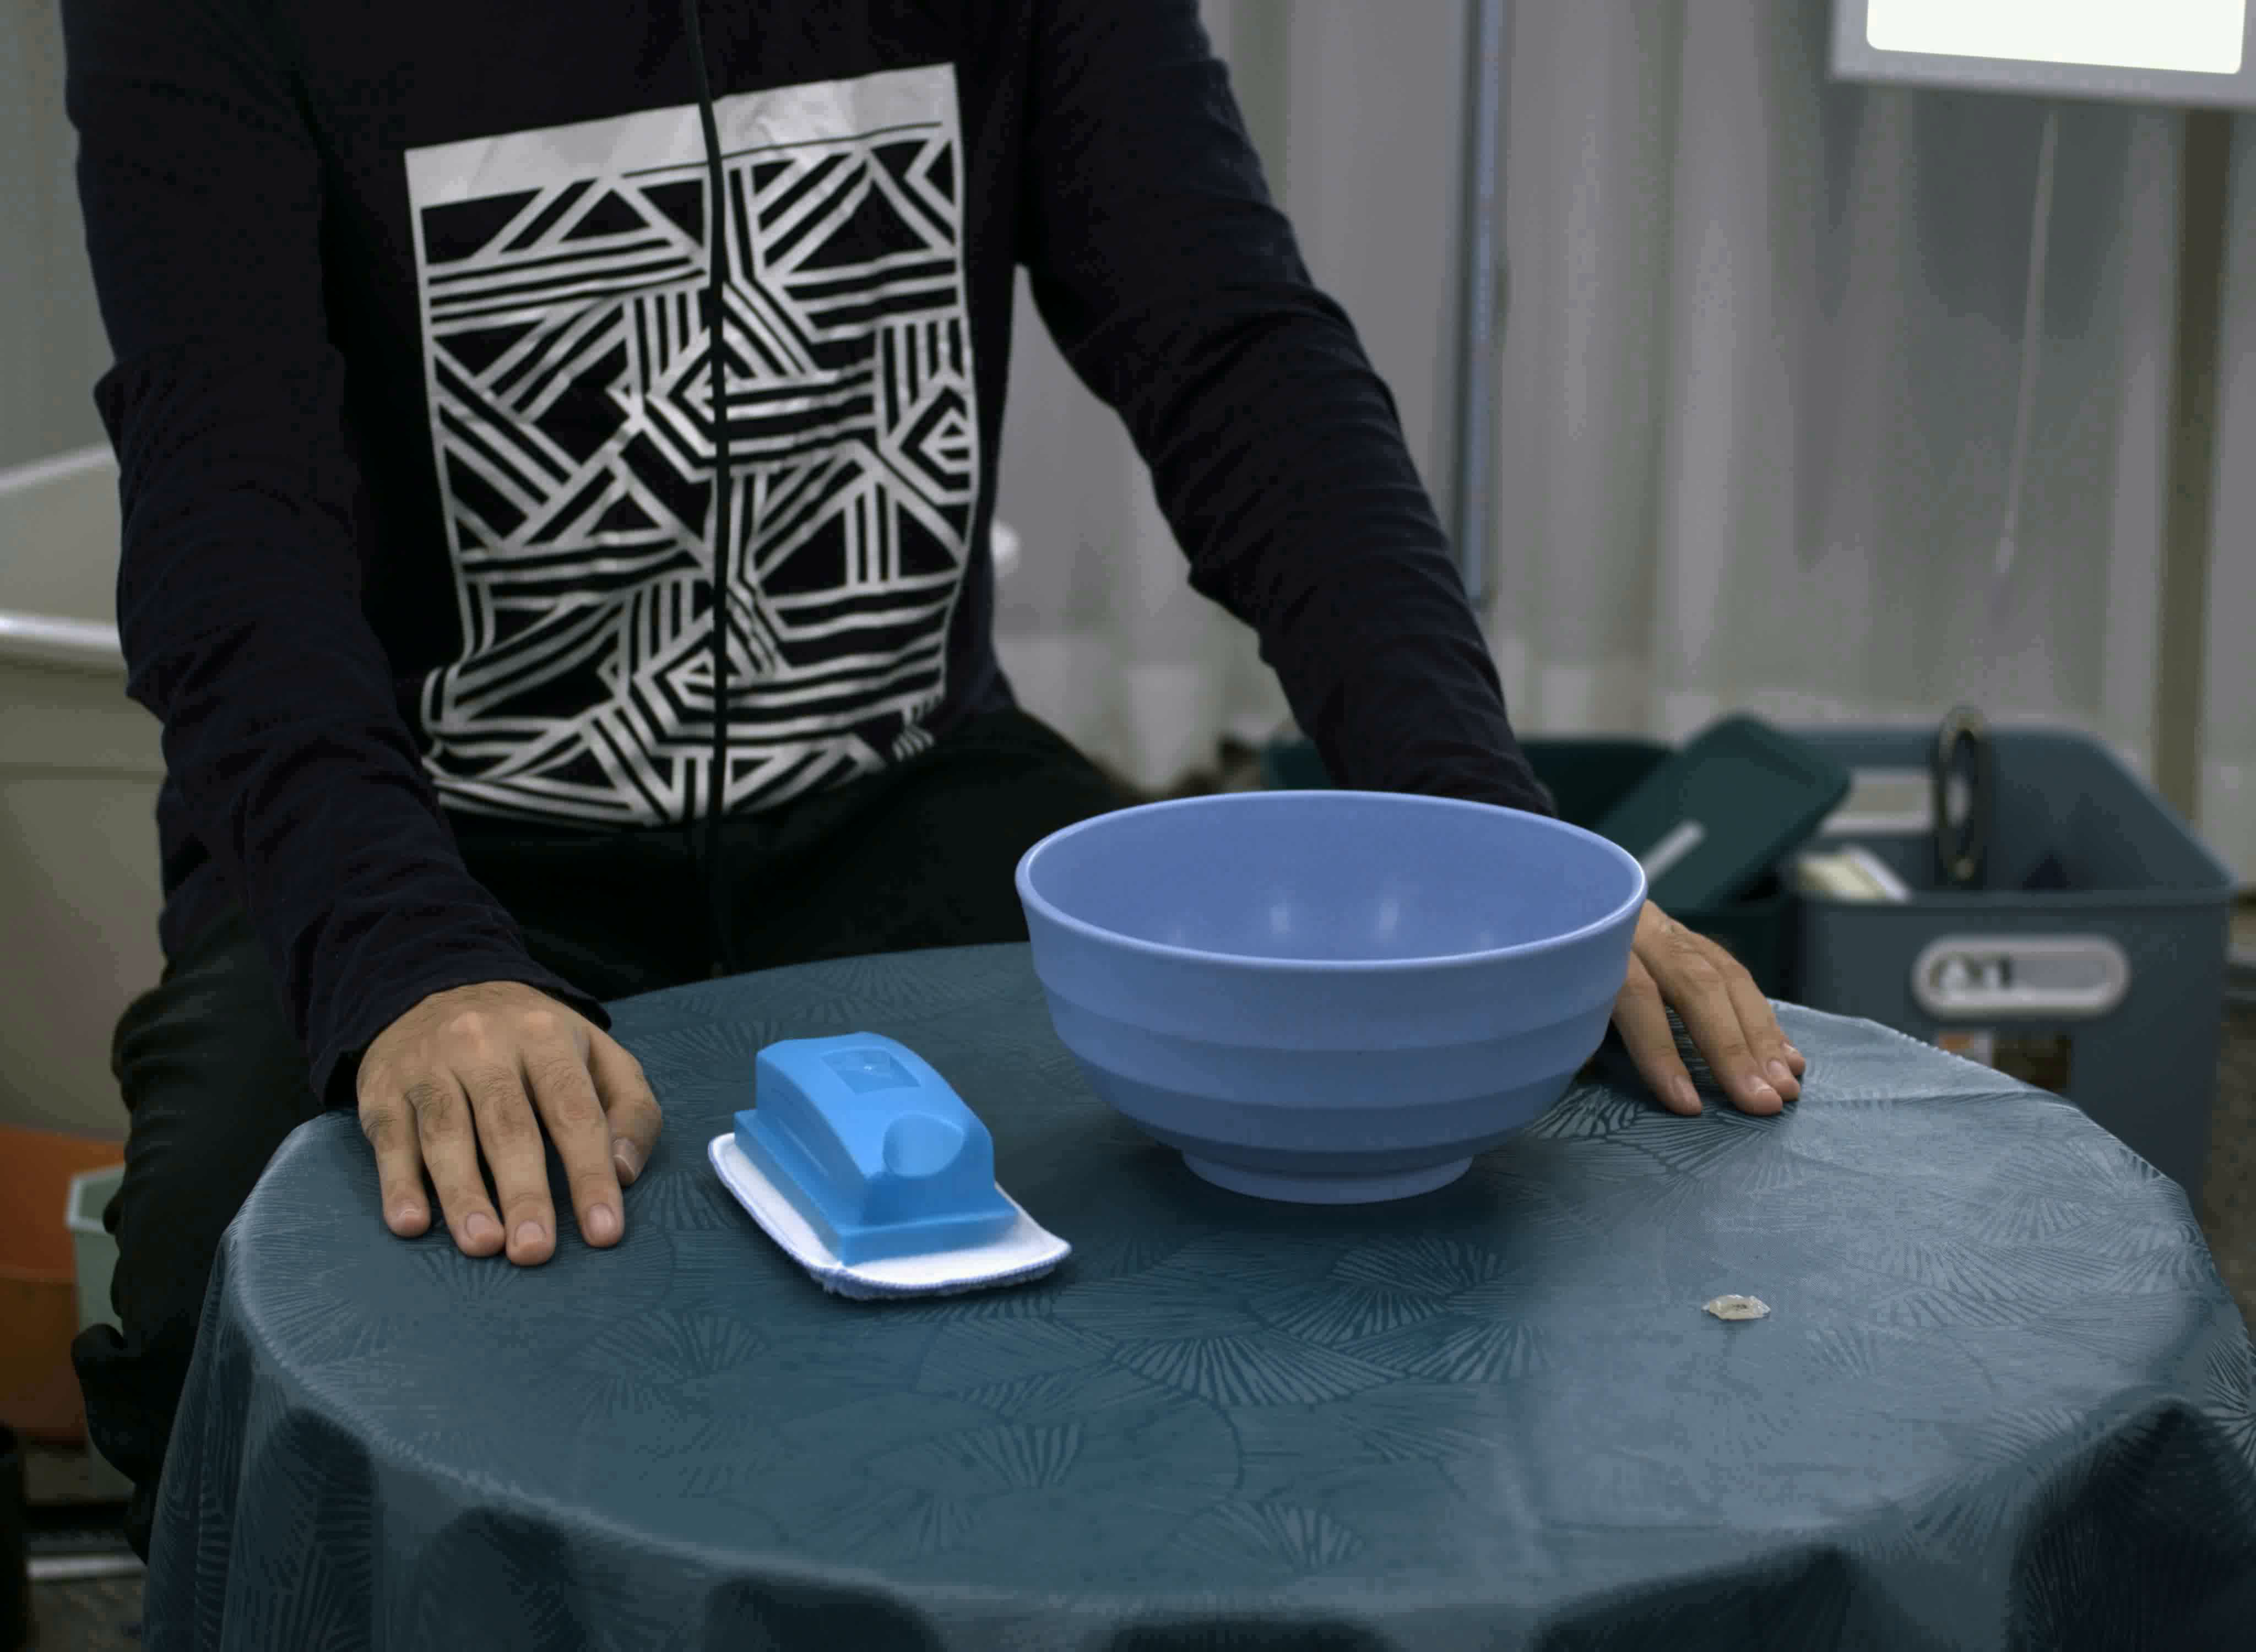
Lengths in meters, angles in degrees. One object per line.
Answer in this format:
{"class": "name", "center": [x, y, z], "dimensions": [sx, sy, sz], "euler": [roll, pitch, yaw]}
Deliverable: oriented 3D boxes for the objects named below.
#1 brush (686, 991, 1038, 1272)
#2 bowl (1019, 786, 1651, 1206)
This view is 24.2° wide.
{"class": "brush", "center": [-0.079, 0.089, 1.587], "dimensions": [0.084, 0.056, 0.142], "euler": [0, 19, -20]}
{"class": "bowl", "center": [0.064, 0.059, 1.645], "dimensions": [0.196, 0.096, 0.195], "euler": [1, 16, 0]}
